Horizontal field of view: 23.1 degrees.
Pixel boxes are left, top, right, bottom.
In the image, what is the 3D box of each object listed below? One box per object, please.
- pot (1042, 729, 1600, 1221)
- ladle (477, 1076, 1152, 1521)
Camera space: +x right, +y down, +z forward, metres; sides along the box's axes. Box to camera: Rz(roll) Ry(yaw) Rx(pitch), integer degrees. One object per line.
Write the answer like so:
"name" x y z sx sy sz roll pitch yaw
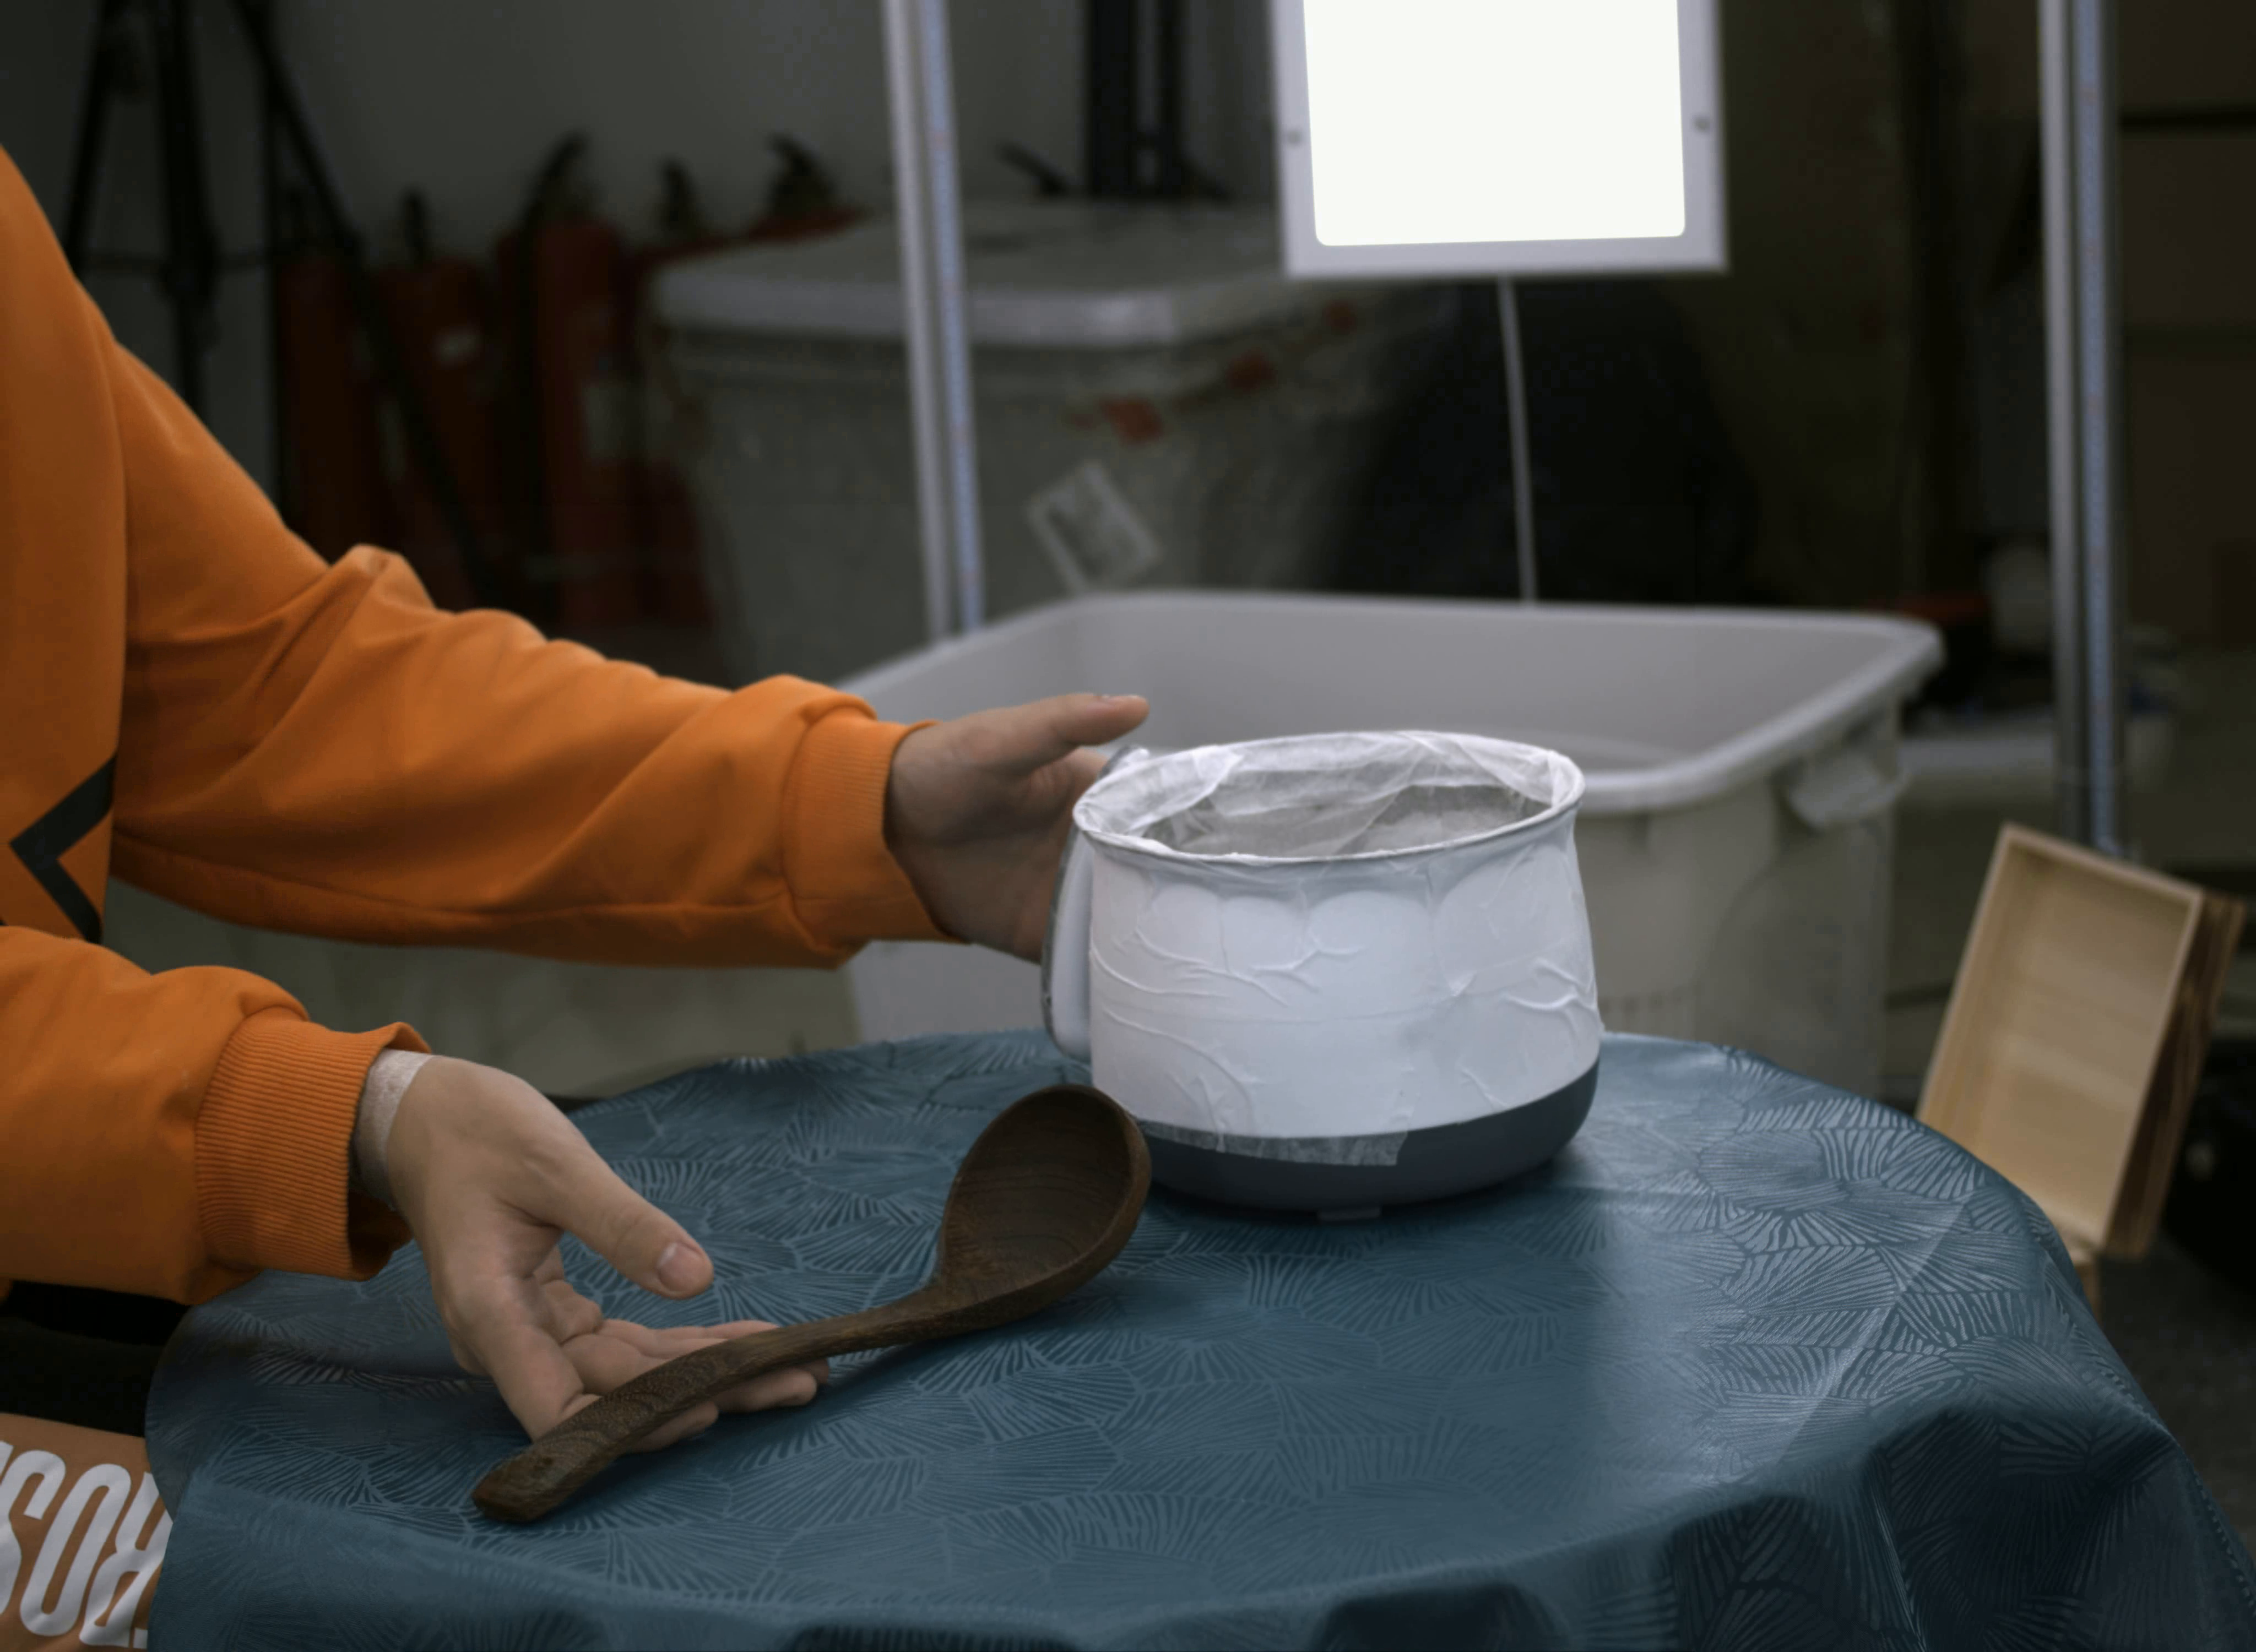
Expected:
"pot" 0.054 0.046 1.916 0.174 0.137 0.239 -16 18 -40
"ladle" -0.098 0.143 1.720 0.078 0.071 0.267 5 16 44
